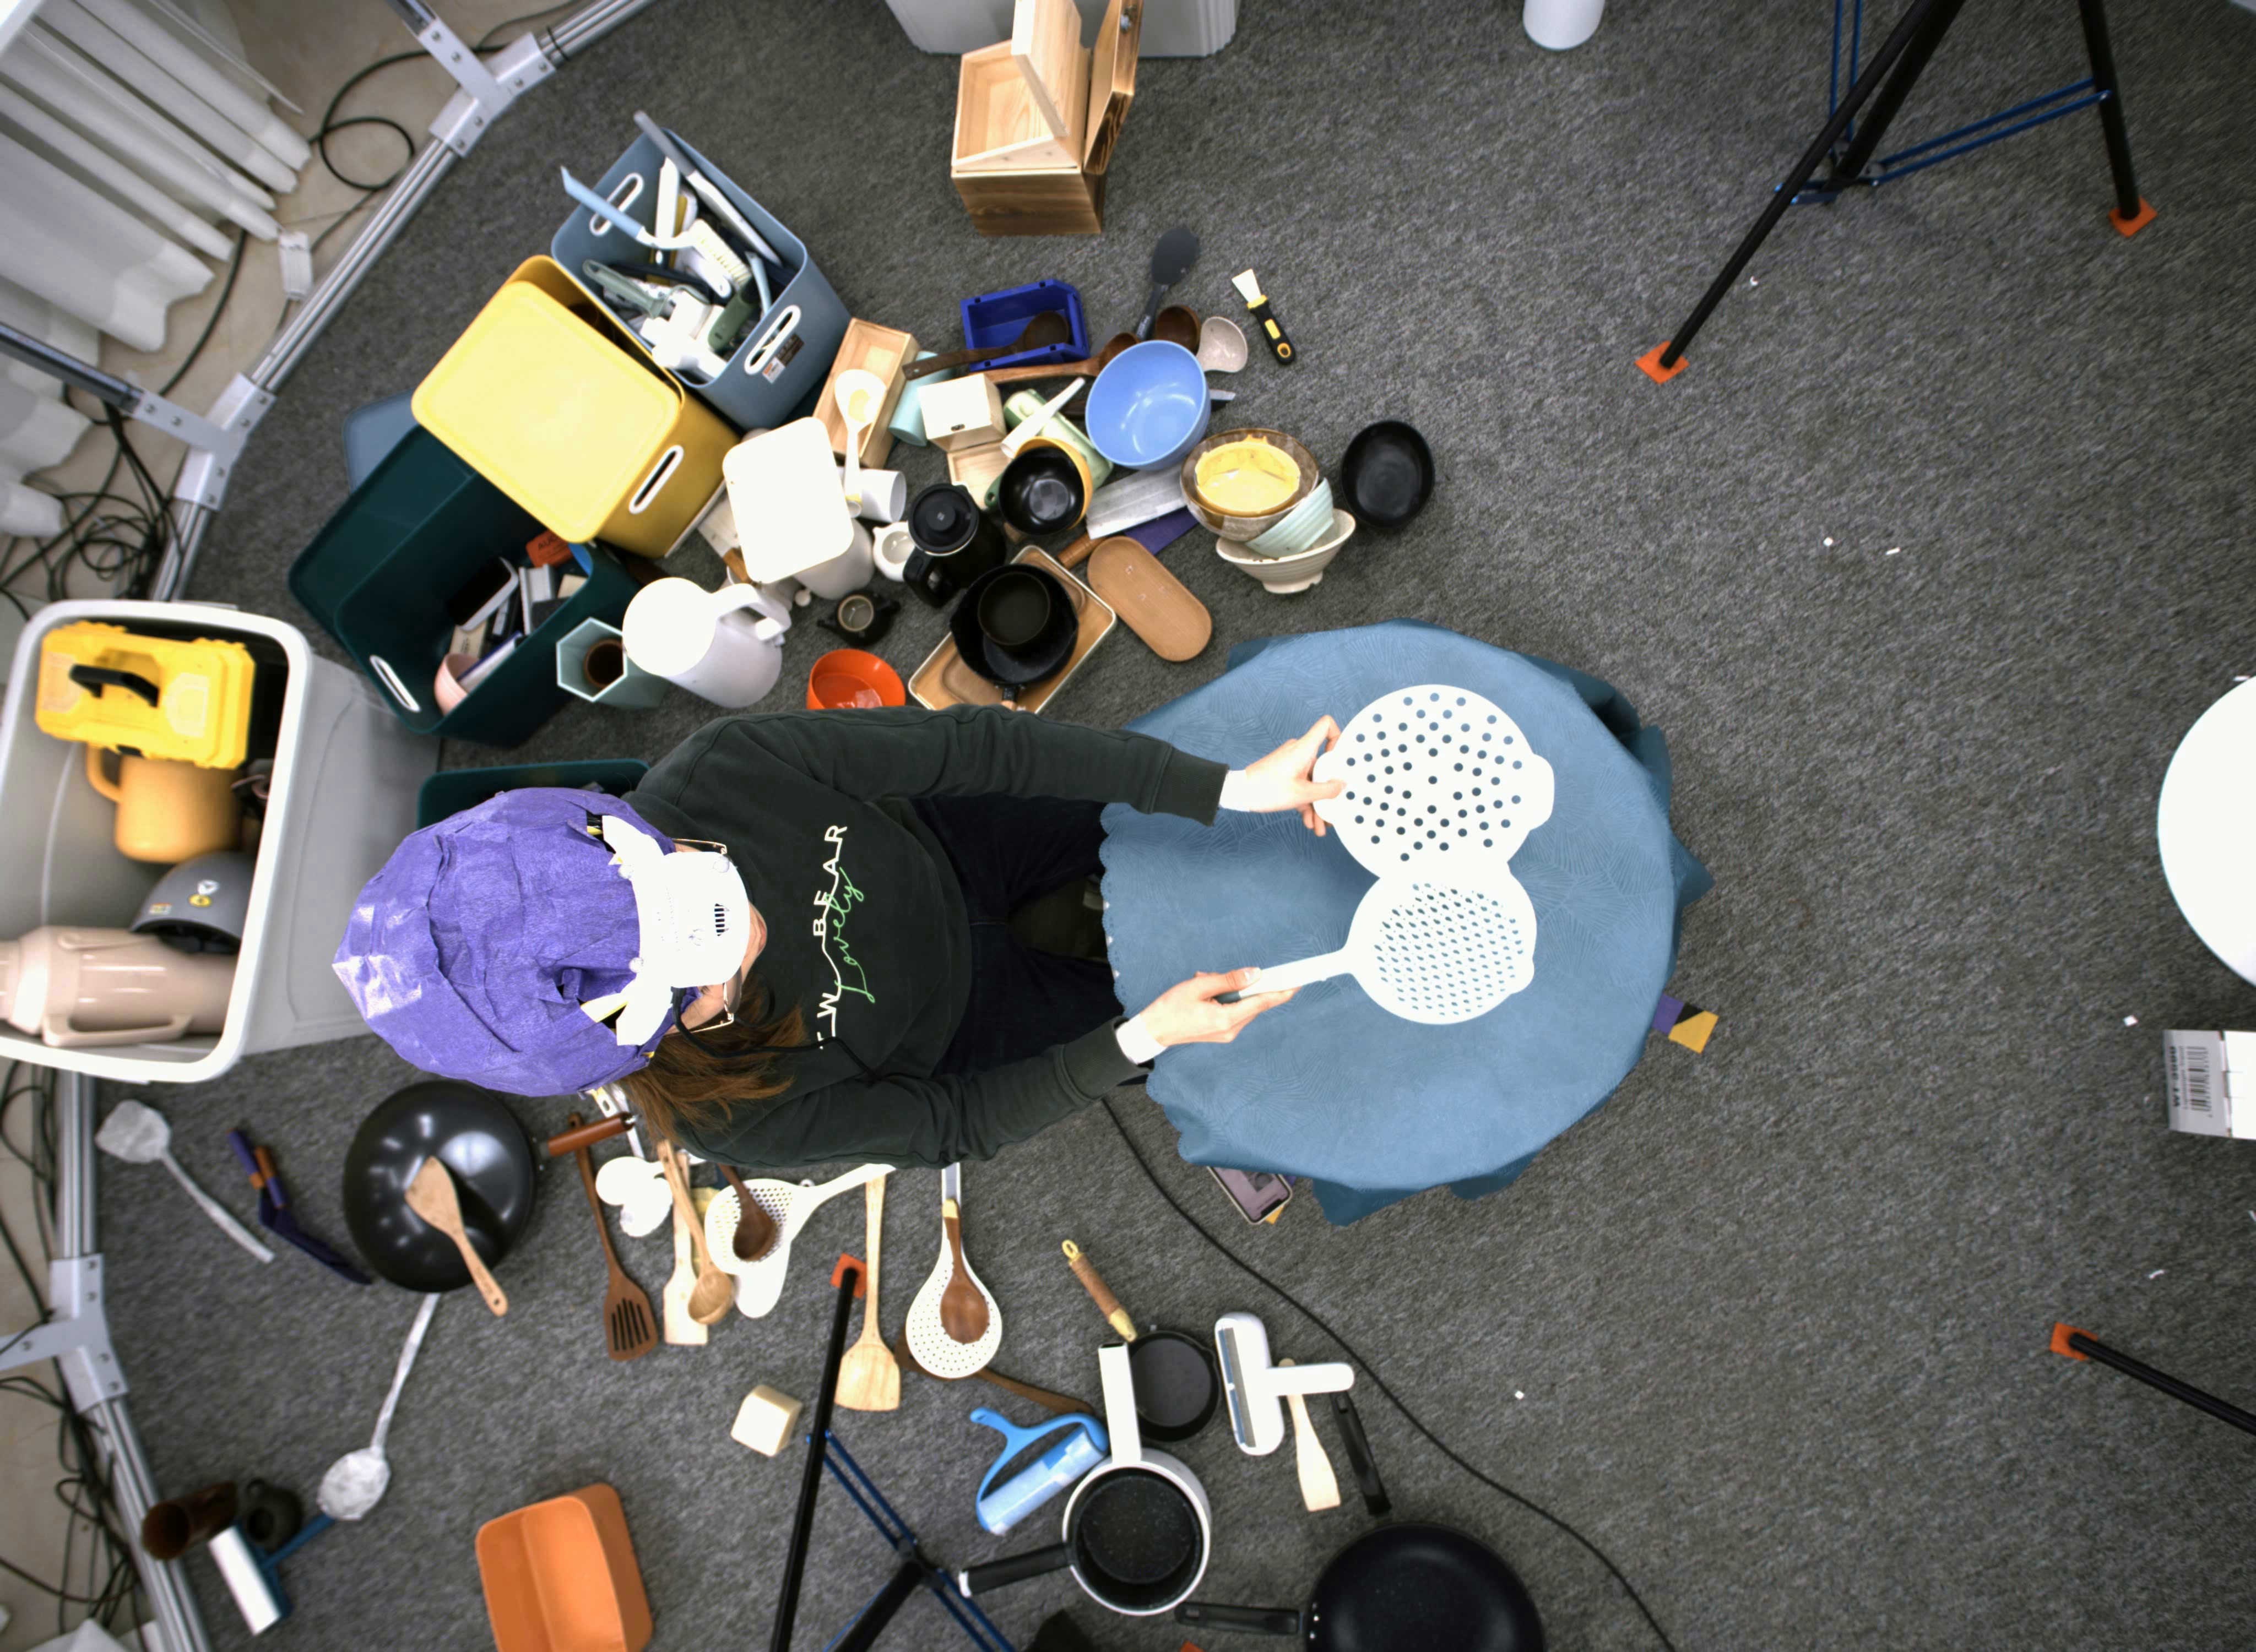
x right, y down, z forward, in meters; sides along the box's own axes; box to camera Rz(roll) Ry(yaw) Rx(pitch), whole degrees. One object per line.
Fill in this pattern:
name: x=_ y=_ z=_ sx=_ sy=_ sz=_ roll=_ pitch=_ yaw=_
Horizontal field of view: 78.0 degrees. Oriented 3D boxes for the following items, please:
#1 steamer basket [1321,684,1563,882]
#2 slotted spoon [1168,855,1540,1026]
steamer basket: x=0.308 y=-0.041 z=1.357 sx=0.231 sy=0.068 sz=0.203 roll=-1 pitch=99 yaw=14
slotted spoon: x=0.204 y=0.132 z=1.302 sx=0.361 sy=0.077 sz=0.165 roll=-12 pitch=57 yaw=11
